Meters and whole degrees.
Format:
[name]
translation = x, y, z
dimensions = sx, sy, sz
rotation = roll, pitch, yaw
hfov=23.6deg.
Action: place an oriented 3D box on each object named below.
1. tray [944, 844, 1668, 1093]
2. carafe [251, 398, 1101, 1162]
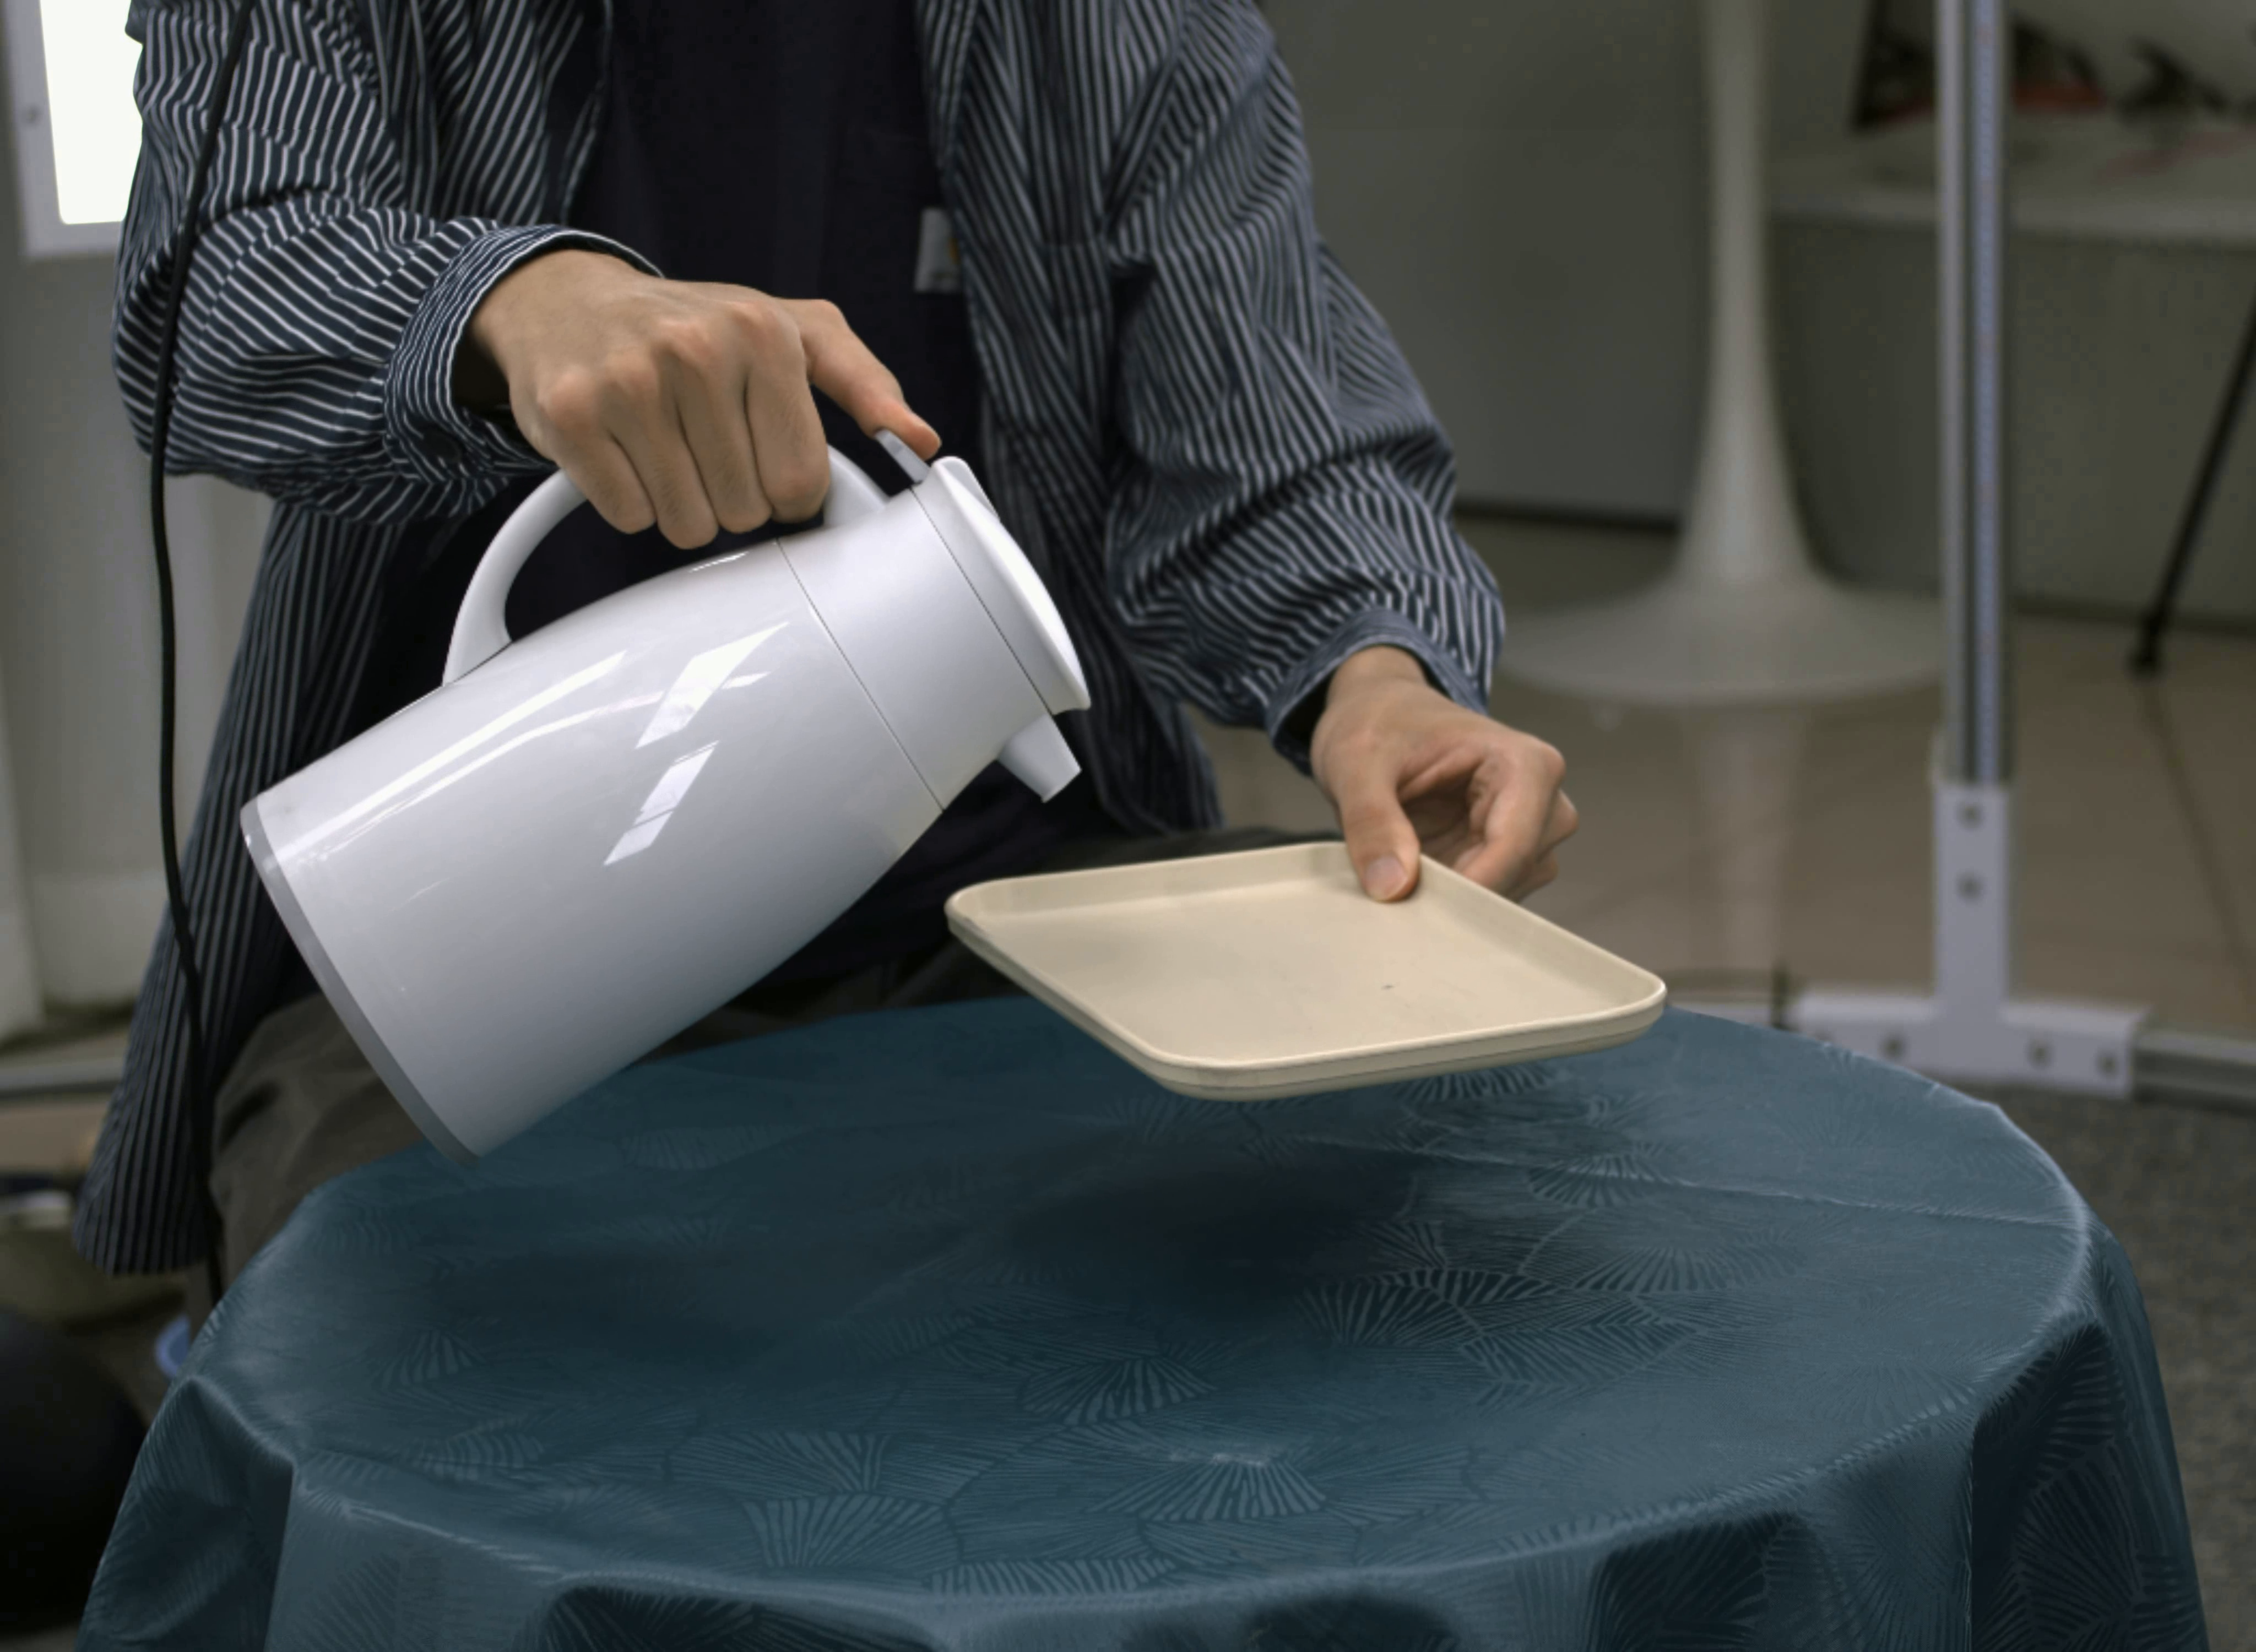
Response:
[tray]
translation = 0.052, 0.044, 1.690
dimensions = 0.168, 0.018, 0.242
rotation = -6, 13, -19
[carafe]
translation = -0.140, -0.033, 1.657
dimensions = 0.247, 0.168, 0.133
rotation = -31, 8, 1
